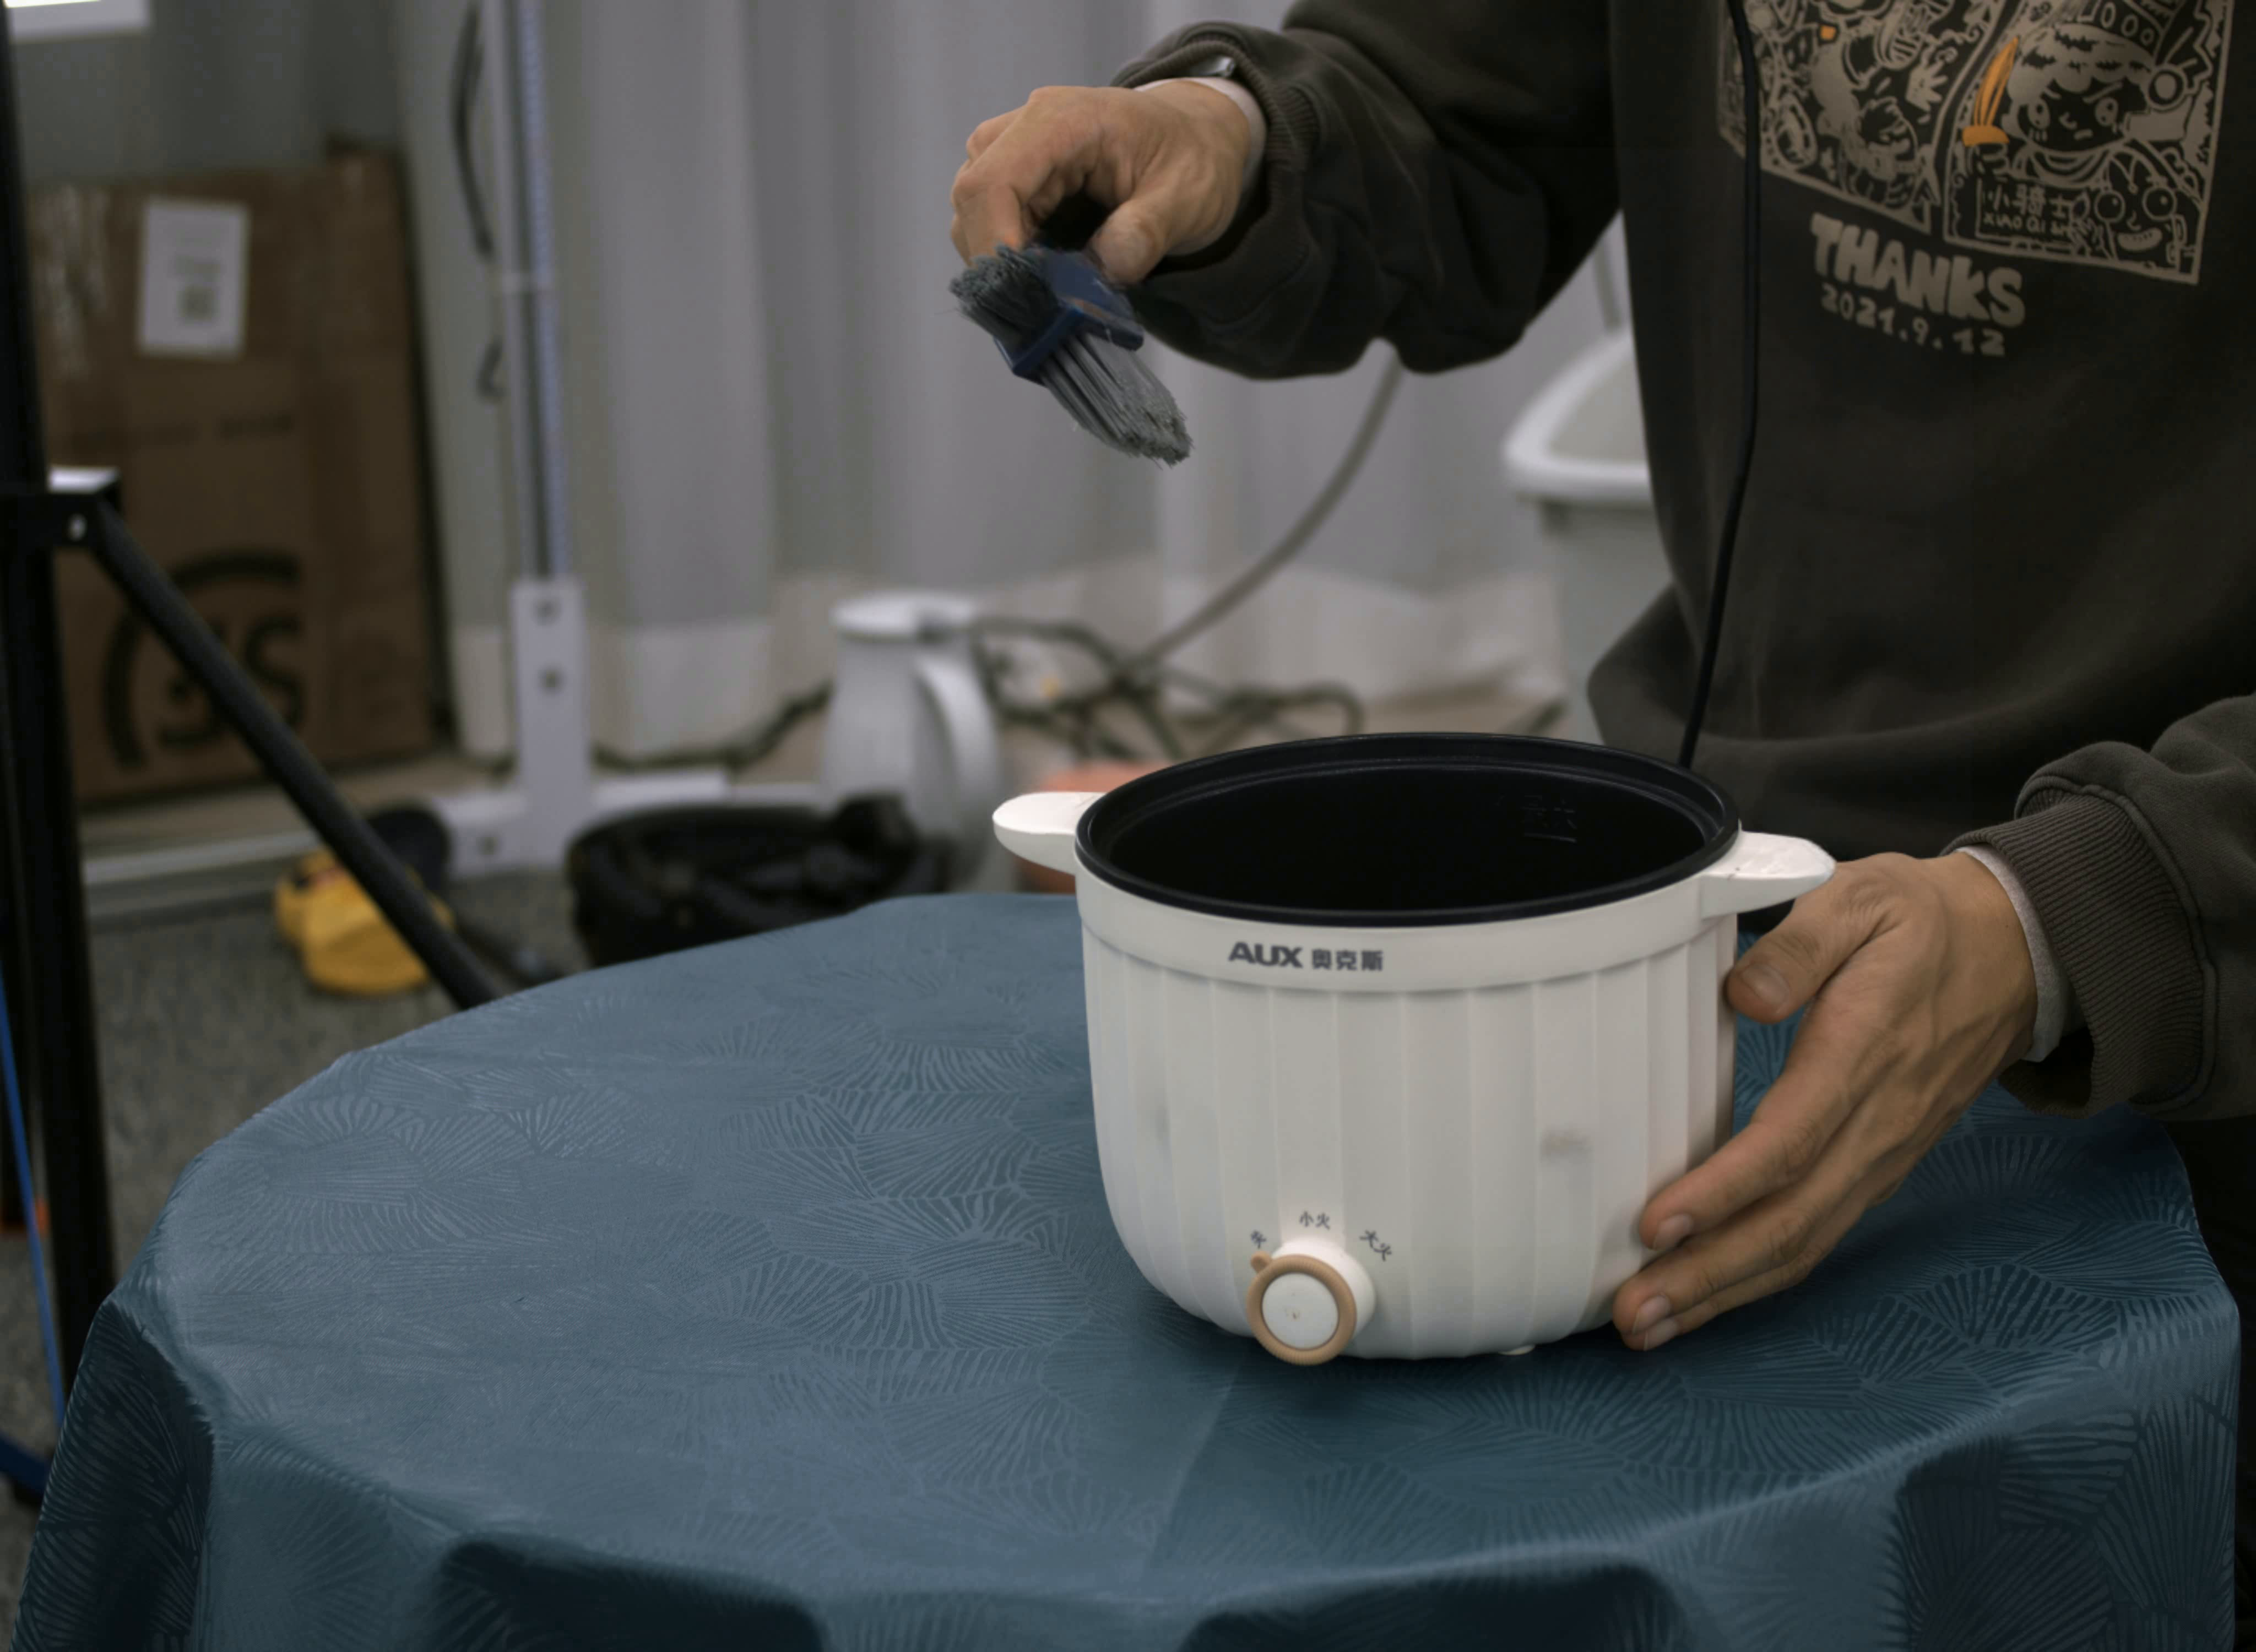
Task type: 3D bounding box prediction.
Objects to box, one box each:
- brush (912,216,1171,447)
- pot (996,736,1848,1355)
[{"bbox_3d":[-0.023,-0.165,1.577,0.033,0.095,0.275,-43,14,10],"label":"brush"},{"bbox_3d":[0.078,0.063,1.453,0.243,0.143,0.188,2,12,21],"label":"pot"}]
